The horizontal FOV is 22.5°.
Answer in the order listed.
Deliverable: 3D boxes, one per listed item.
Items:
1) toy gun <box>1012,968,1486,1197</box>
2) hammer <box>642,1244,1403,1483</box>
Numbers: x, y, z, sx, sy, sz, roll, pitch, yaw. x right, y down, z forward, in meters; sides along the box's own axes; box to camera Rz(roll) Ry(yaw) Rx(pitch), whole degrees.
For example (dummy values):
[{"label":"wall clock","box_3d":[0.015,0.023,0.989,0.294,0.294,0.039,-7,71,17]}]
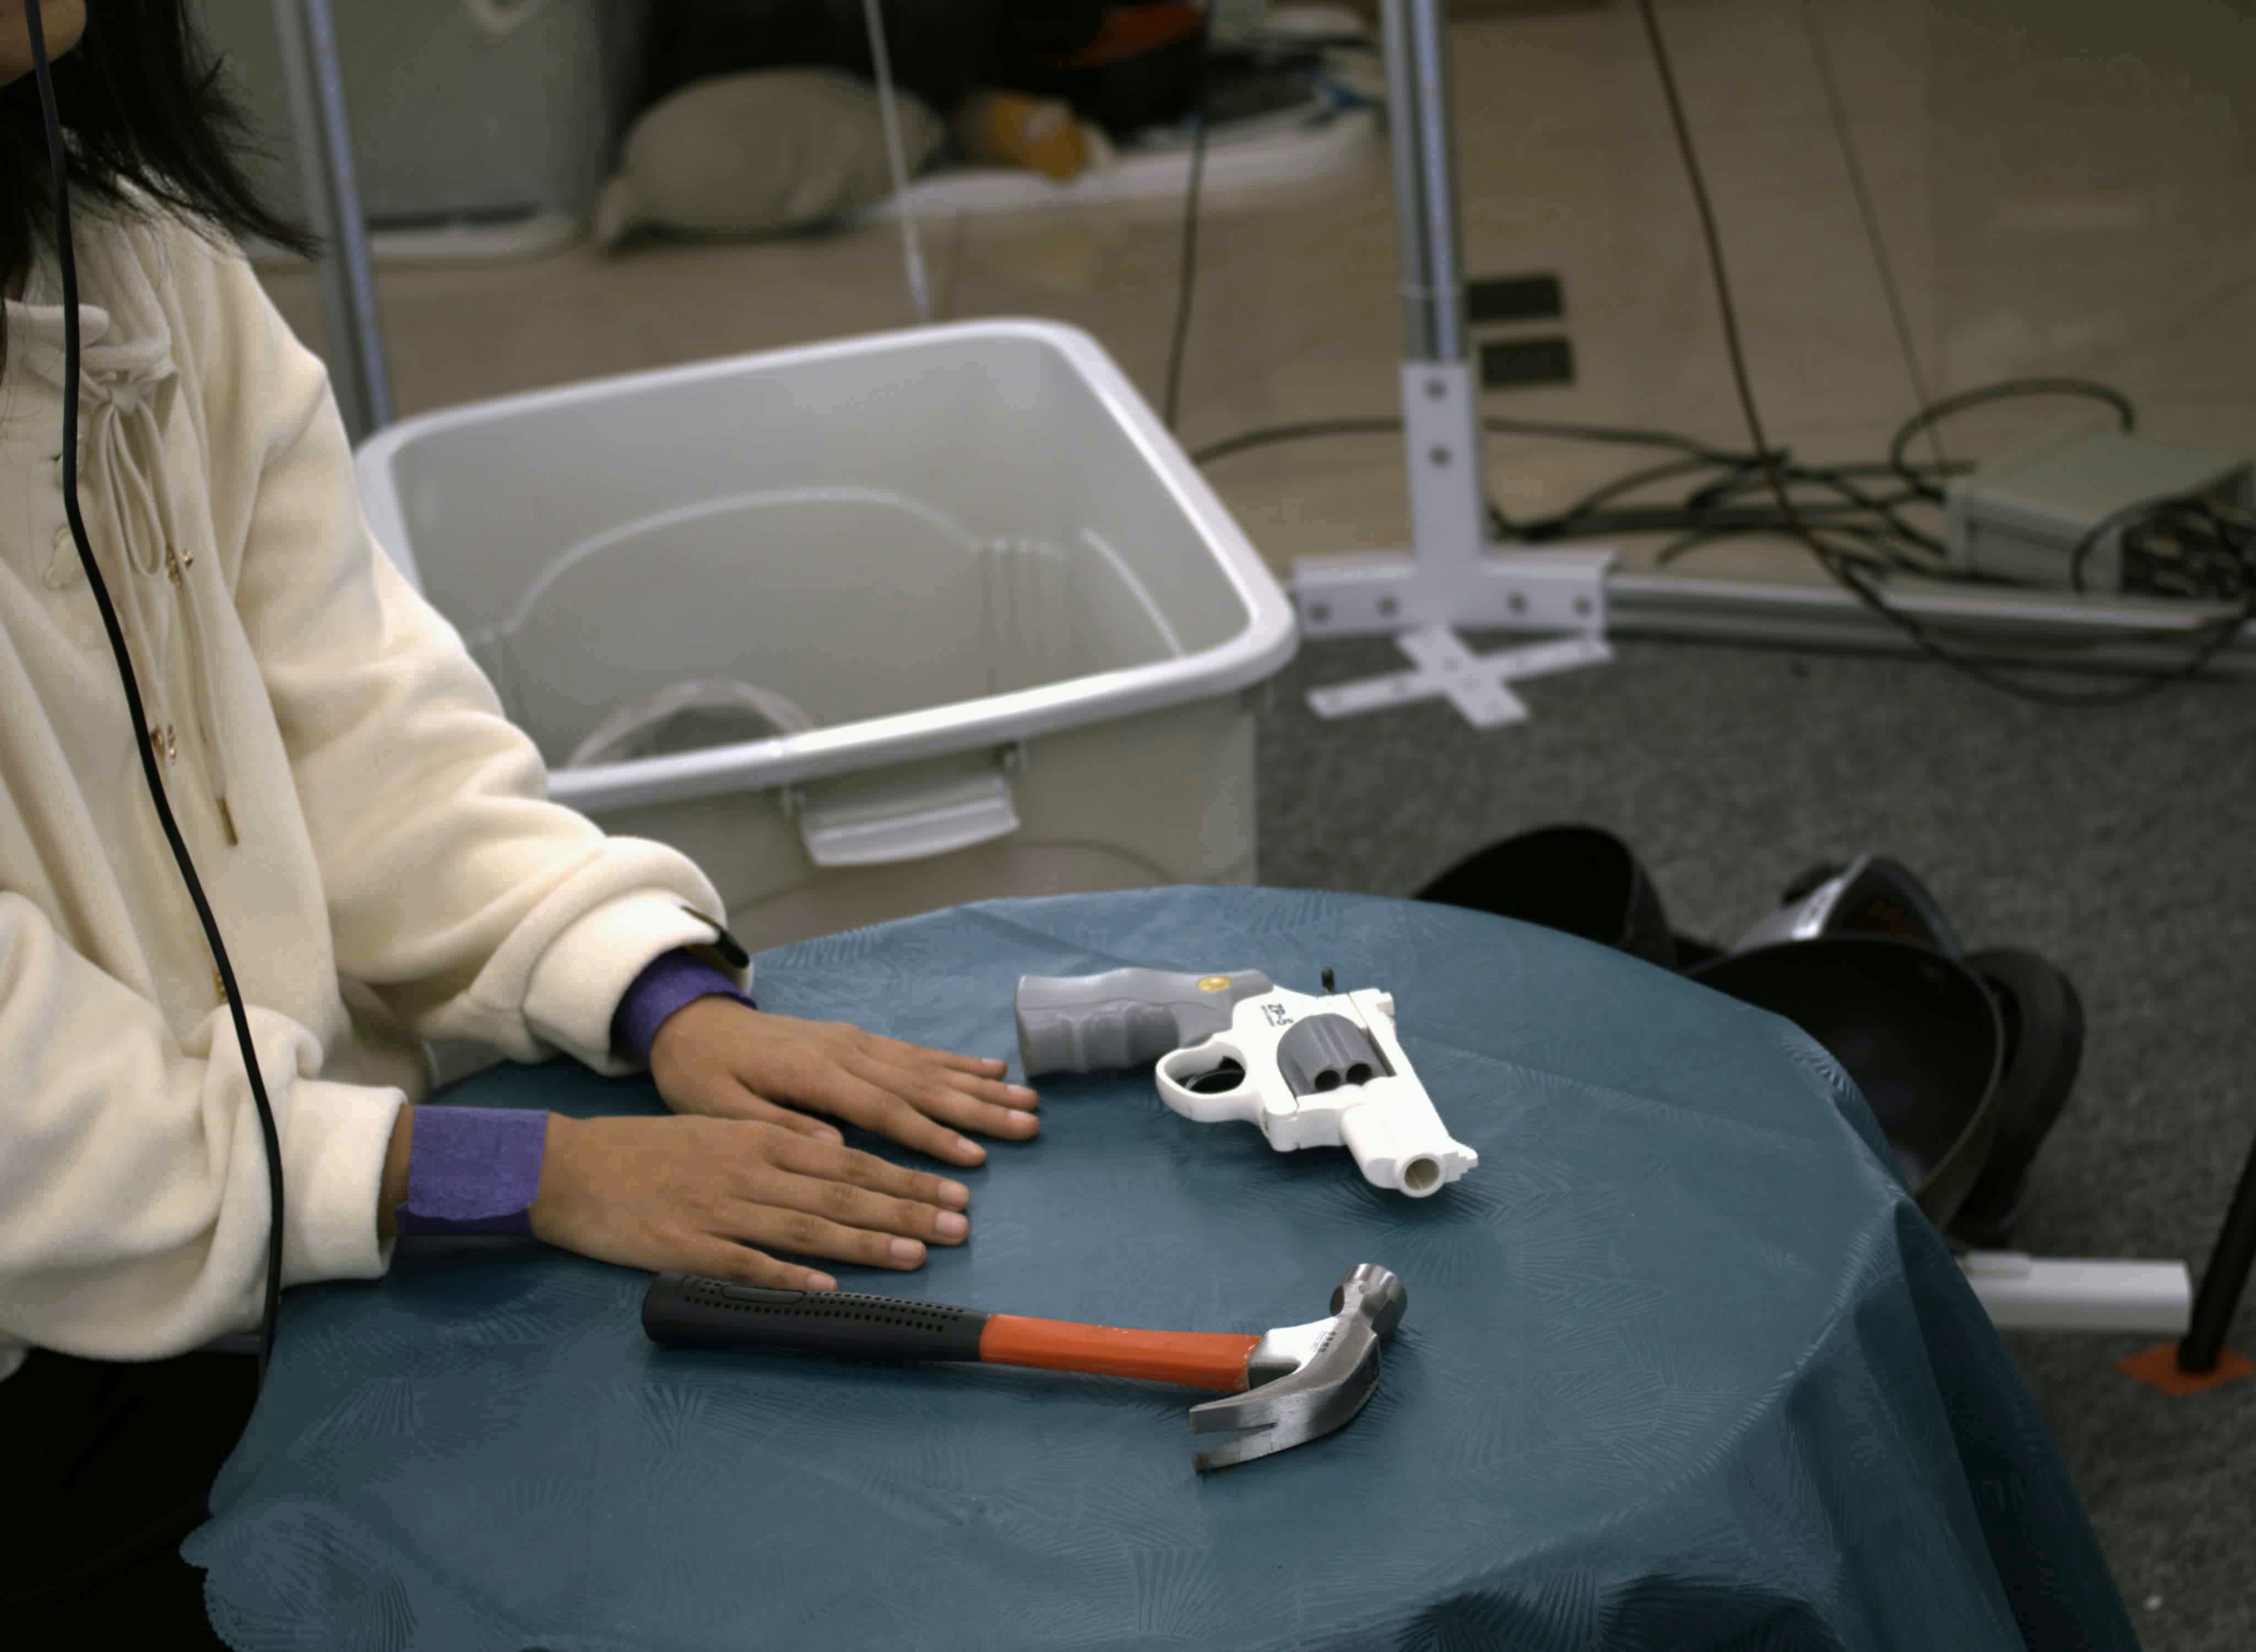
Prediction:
[{"label":"toy gun","box_3d":[0.042,0.097,2.181,0.141,0.039,0.206,-10,25,-11]},{"label":"hammer","box_3d":[-0.046,0.182,2.032,0.276,0.027,0.109,3,36,21]}]
